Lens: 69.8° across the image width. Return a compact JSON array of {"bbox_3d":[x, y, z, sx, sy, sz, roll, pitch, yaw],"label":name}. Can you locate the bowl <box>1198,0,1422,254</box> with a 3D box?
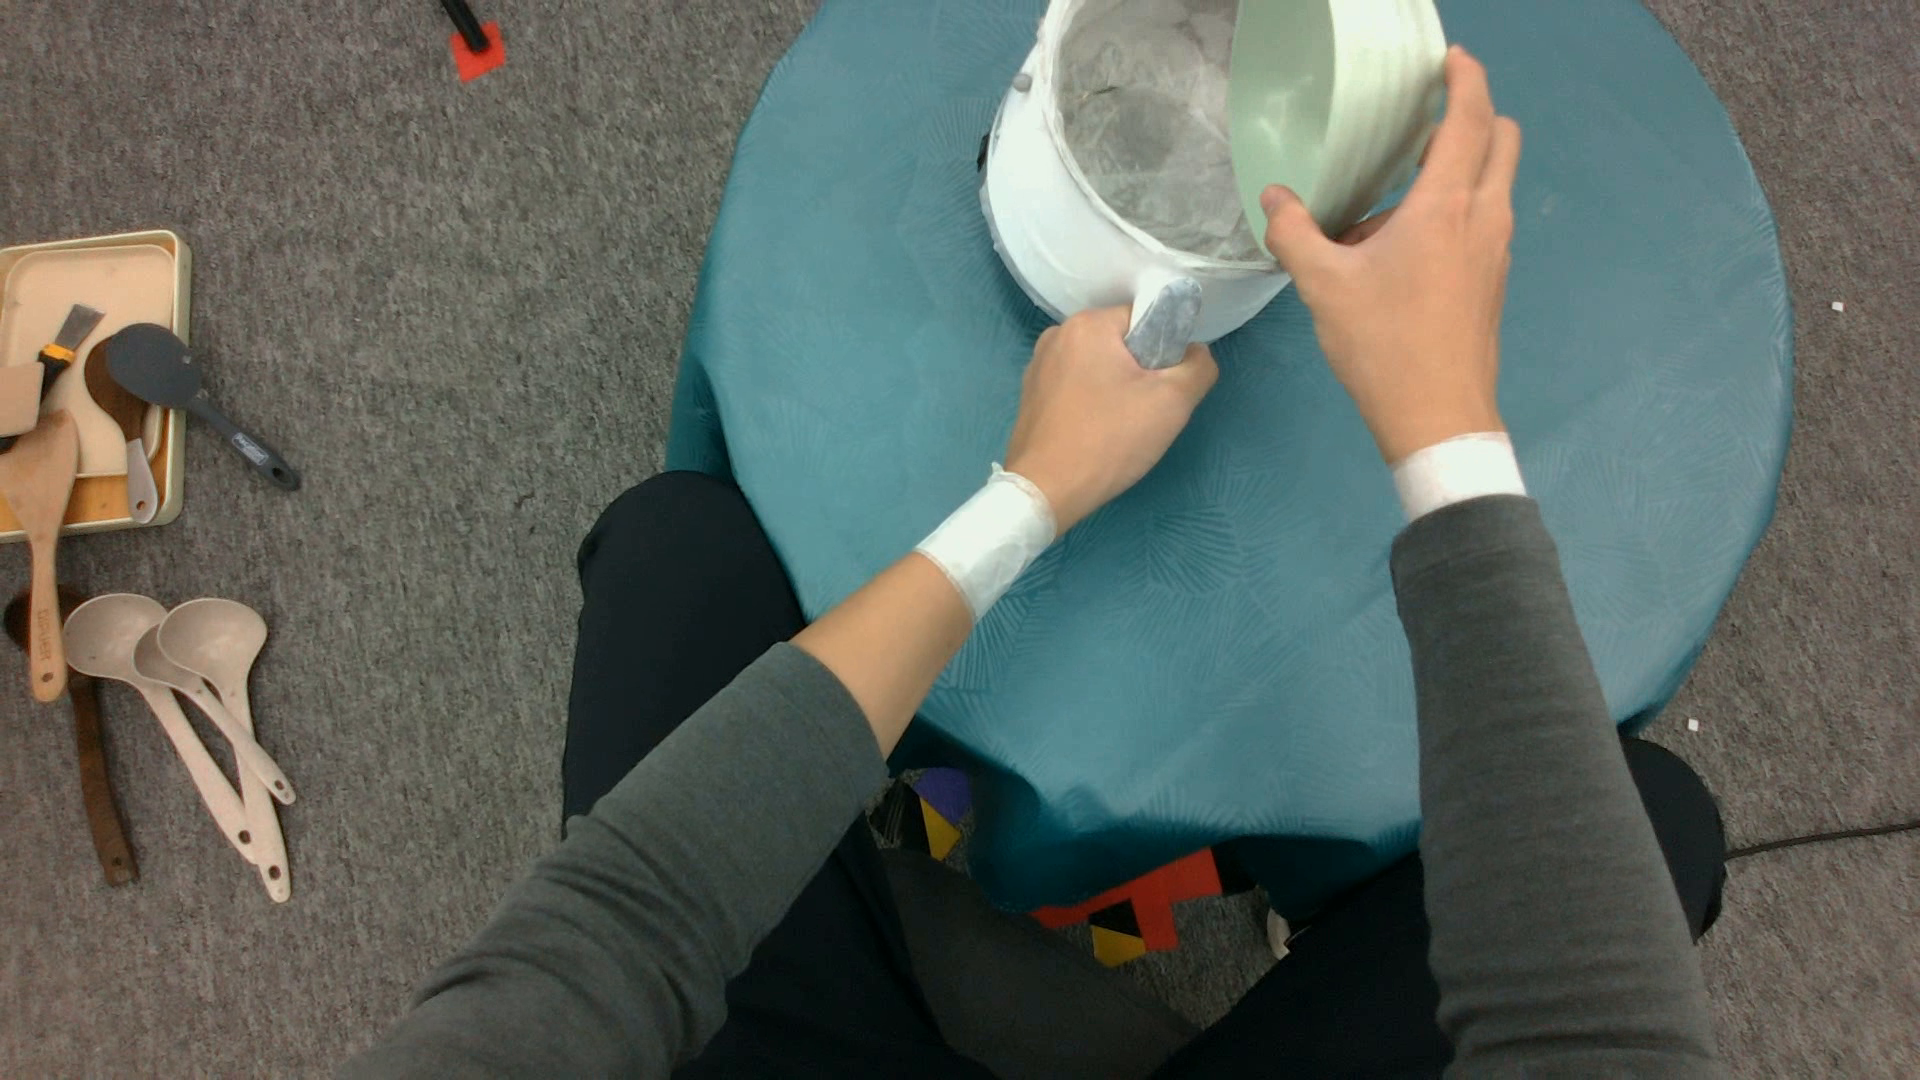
[{"bbox_3d":[0.158,-0.206,0.619,0.059,0.151,0.152,-2,75,-9],"label":"bowl"}]

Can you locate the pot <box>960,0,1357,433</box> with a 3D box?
[{"bbox_3d":[0.094,-0.173,0.691,0.179,0.136,0.234,14,75,-11],"label":"pot"}]
